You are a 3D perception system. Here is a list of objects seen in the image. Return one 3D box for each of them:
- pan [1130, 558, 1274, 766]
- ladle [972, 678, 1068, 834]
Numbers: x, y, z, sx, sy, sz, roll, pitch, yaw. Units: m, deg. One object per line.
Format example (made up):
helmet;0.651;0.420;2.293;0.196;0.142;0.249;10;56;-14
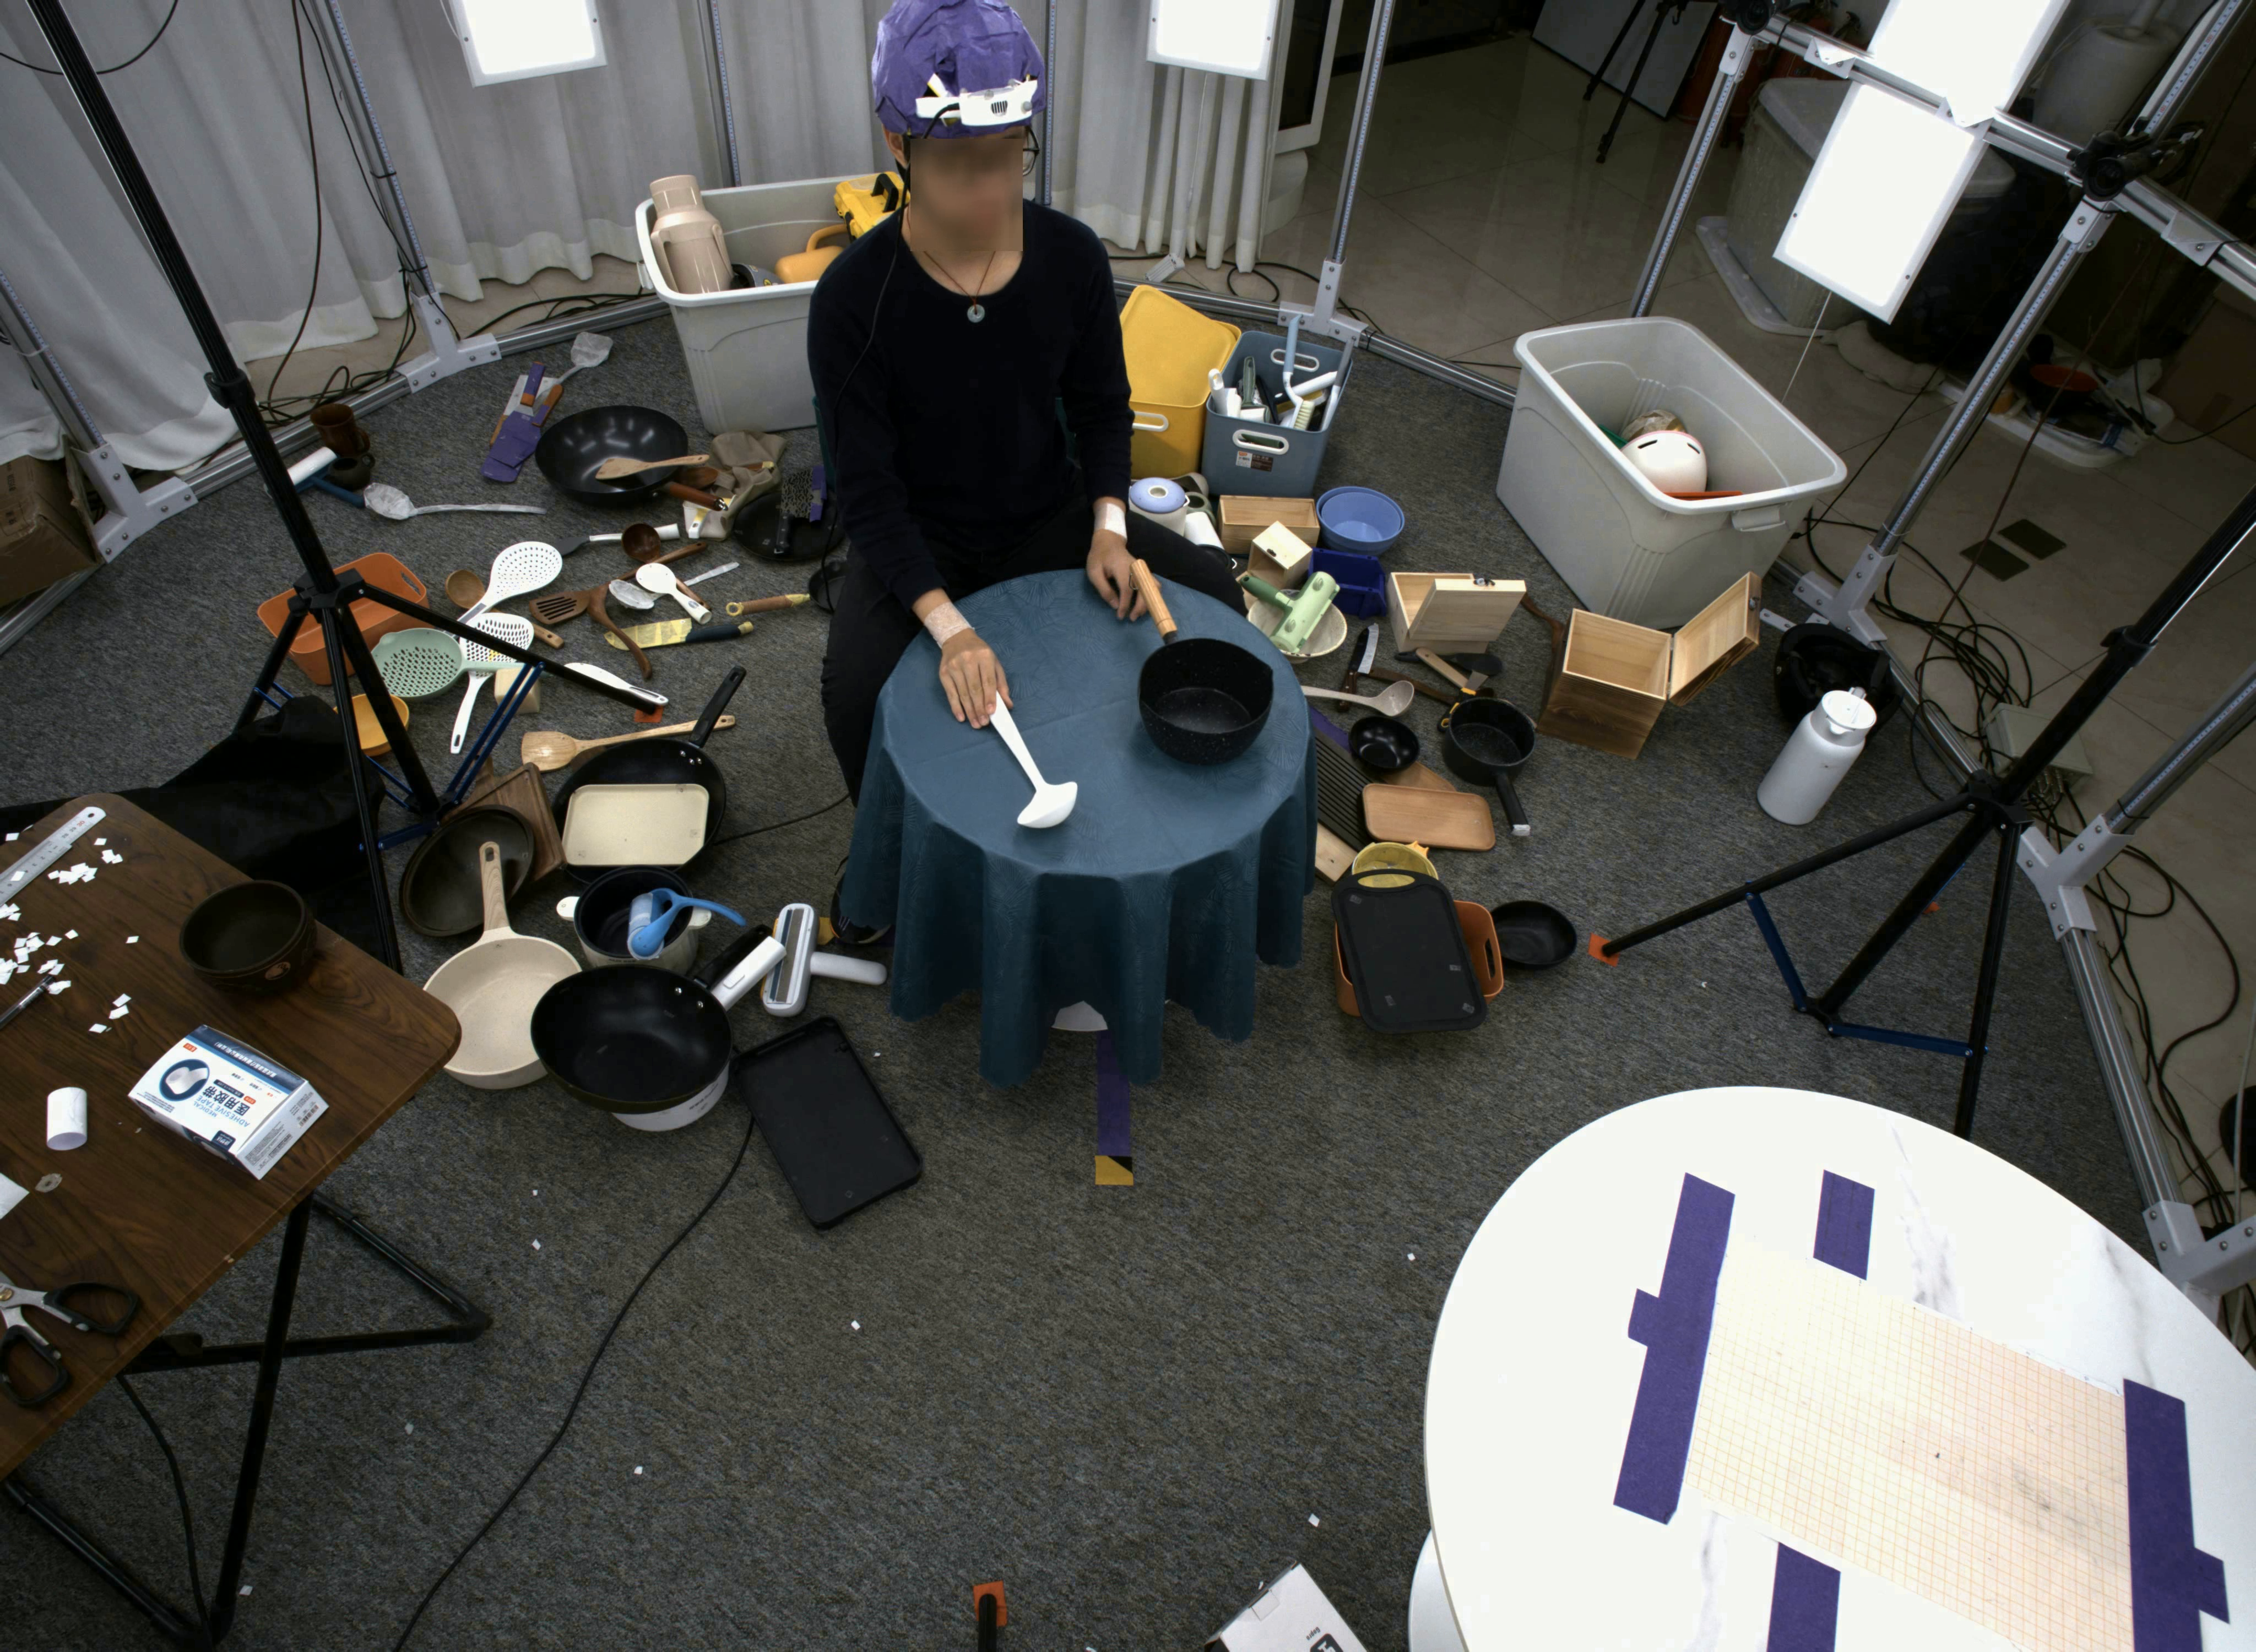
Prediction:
pan;0.073;-0.231;1.805;0.207;0.105;0.350;-17;54;-16
ladle;-0.156;-0.101;1.712;0.090;0.068;0.300;-36;53;8
